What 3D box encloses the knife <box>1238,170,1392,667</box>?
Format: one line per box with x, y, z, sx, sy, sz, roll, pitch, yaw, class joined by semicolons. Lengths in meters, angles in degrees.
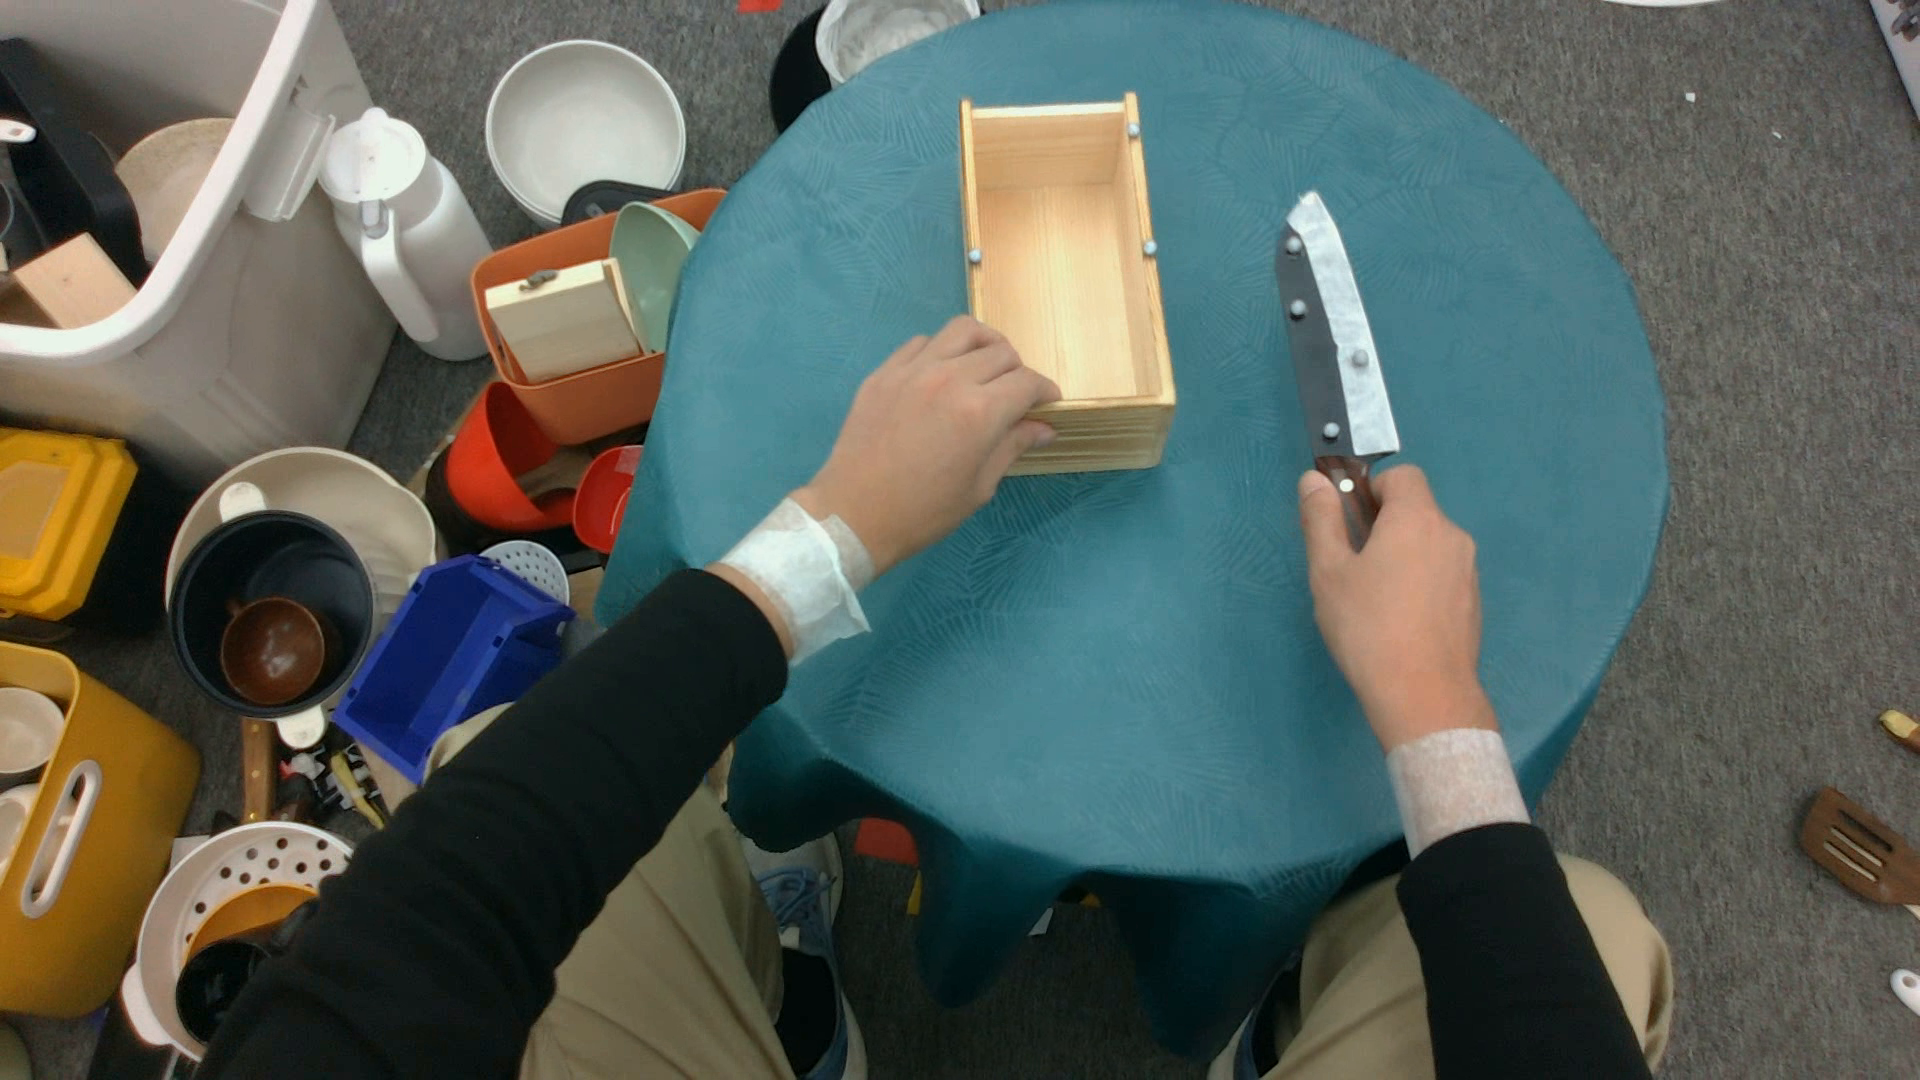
0.190;-0.074;0.735;0.050;0.020;0.290;-7;71;3;knife

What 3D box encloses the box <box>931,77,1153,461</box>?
0.043;-0.160;0.809;0.107;0.080;0.212;-4;66;-2;box
